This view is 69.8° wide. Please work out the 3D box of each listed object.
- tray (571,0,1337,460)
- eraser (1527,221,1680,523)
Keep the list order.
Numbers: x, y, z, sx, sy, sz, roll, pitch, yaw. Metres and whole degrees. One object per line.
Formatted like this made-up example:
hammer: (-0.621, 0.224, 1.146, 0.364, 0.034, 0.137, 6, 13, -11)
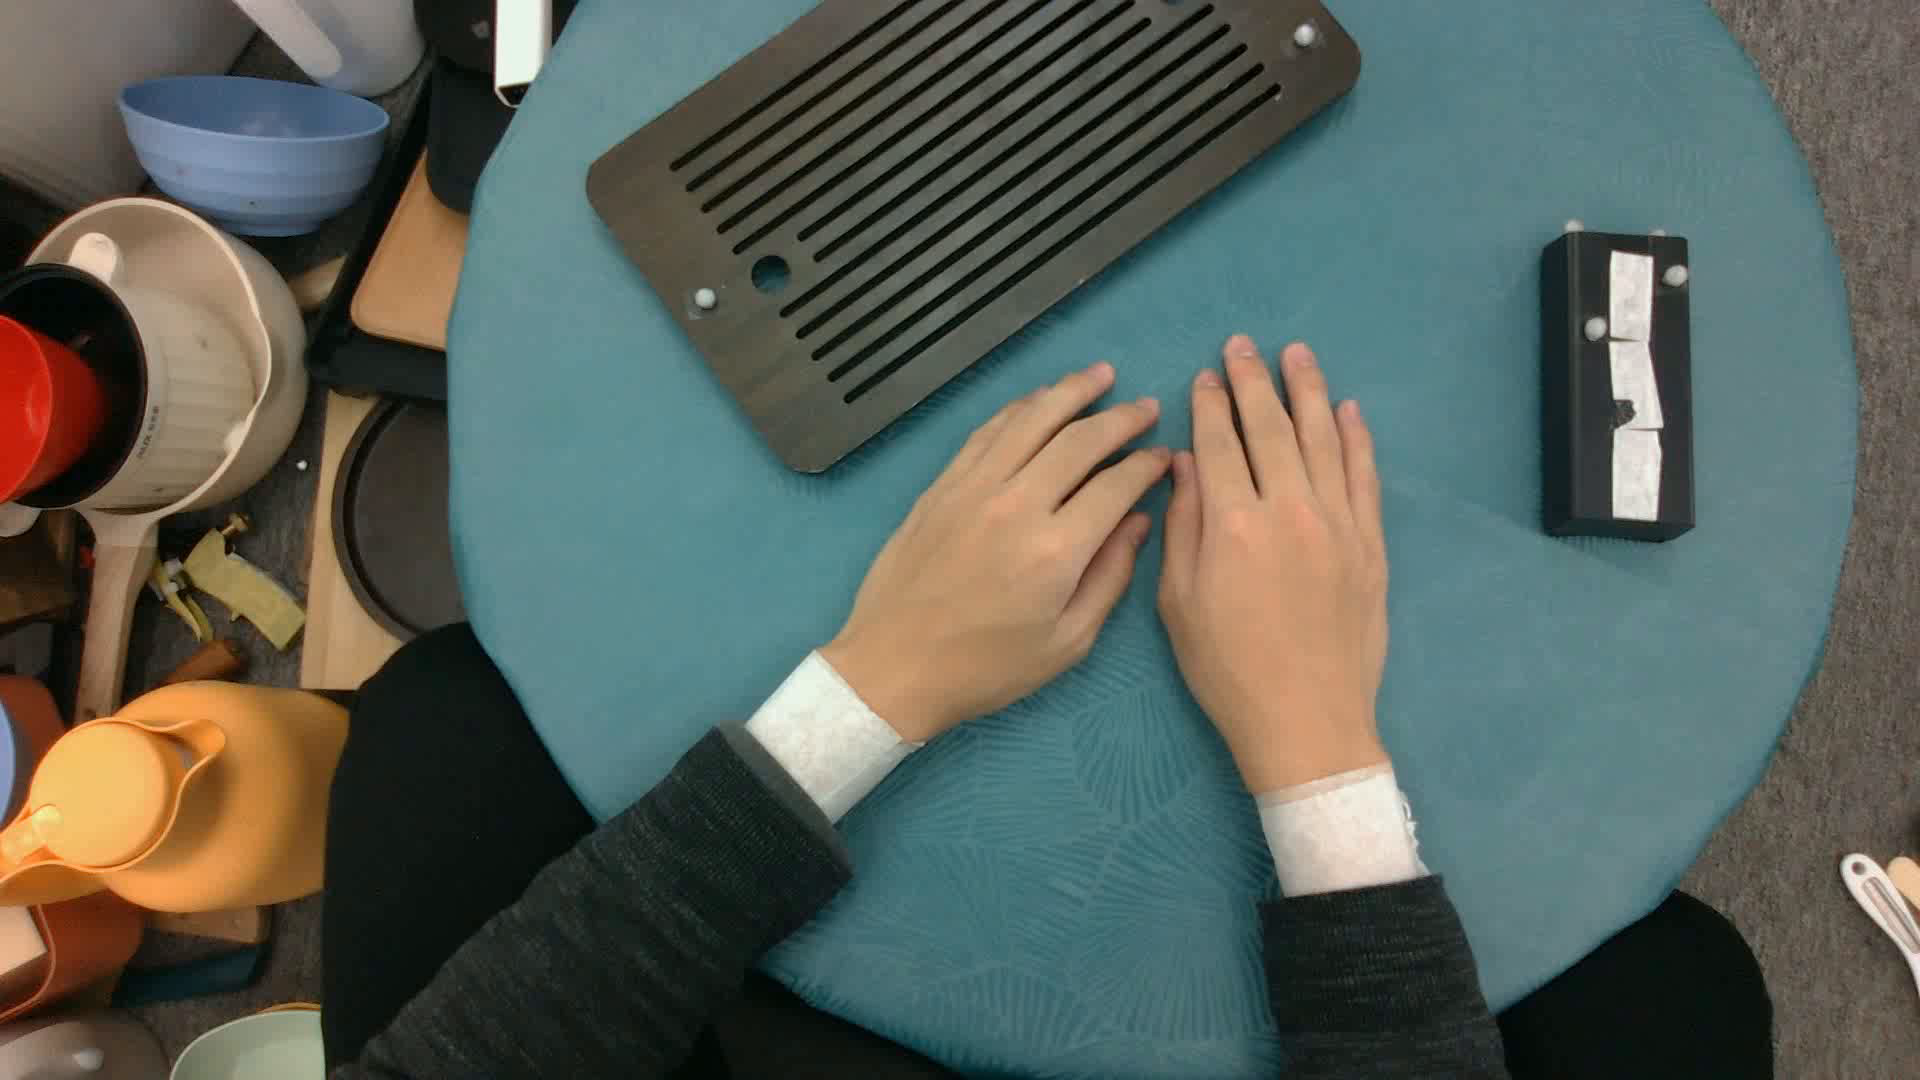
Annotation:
tray: (-0.002, -0.184, 0.601, 0.306, 0.018, 0.170, -36, 82, -5)
eraser: (0.266, -0.070, 0.573, 0.053, 0.030, 0.125, 2, 81, 3)
